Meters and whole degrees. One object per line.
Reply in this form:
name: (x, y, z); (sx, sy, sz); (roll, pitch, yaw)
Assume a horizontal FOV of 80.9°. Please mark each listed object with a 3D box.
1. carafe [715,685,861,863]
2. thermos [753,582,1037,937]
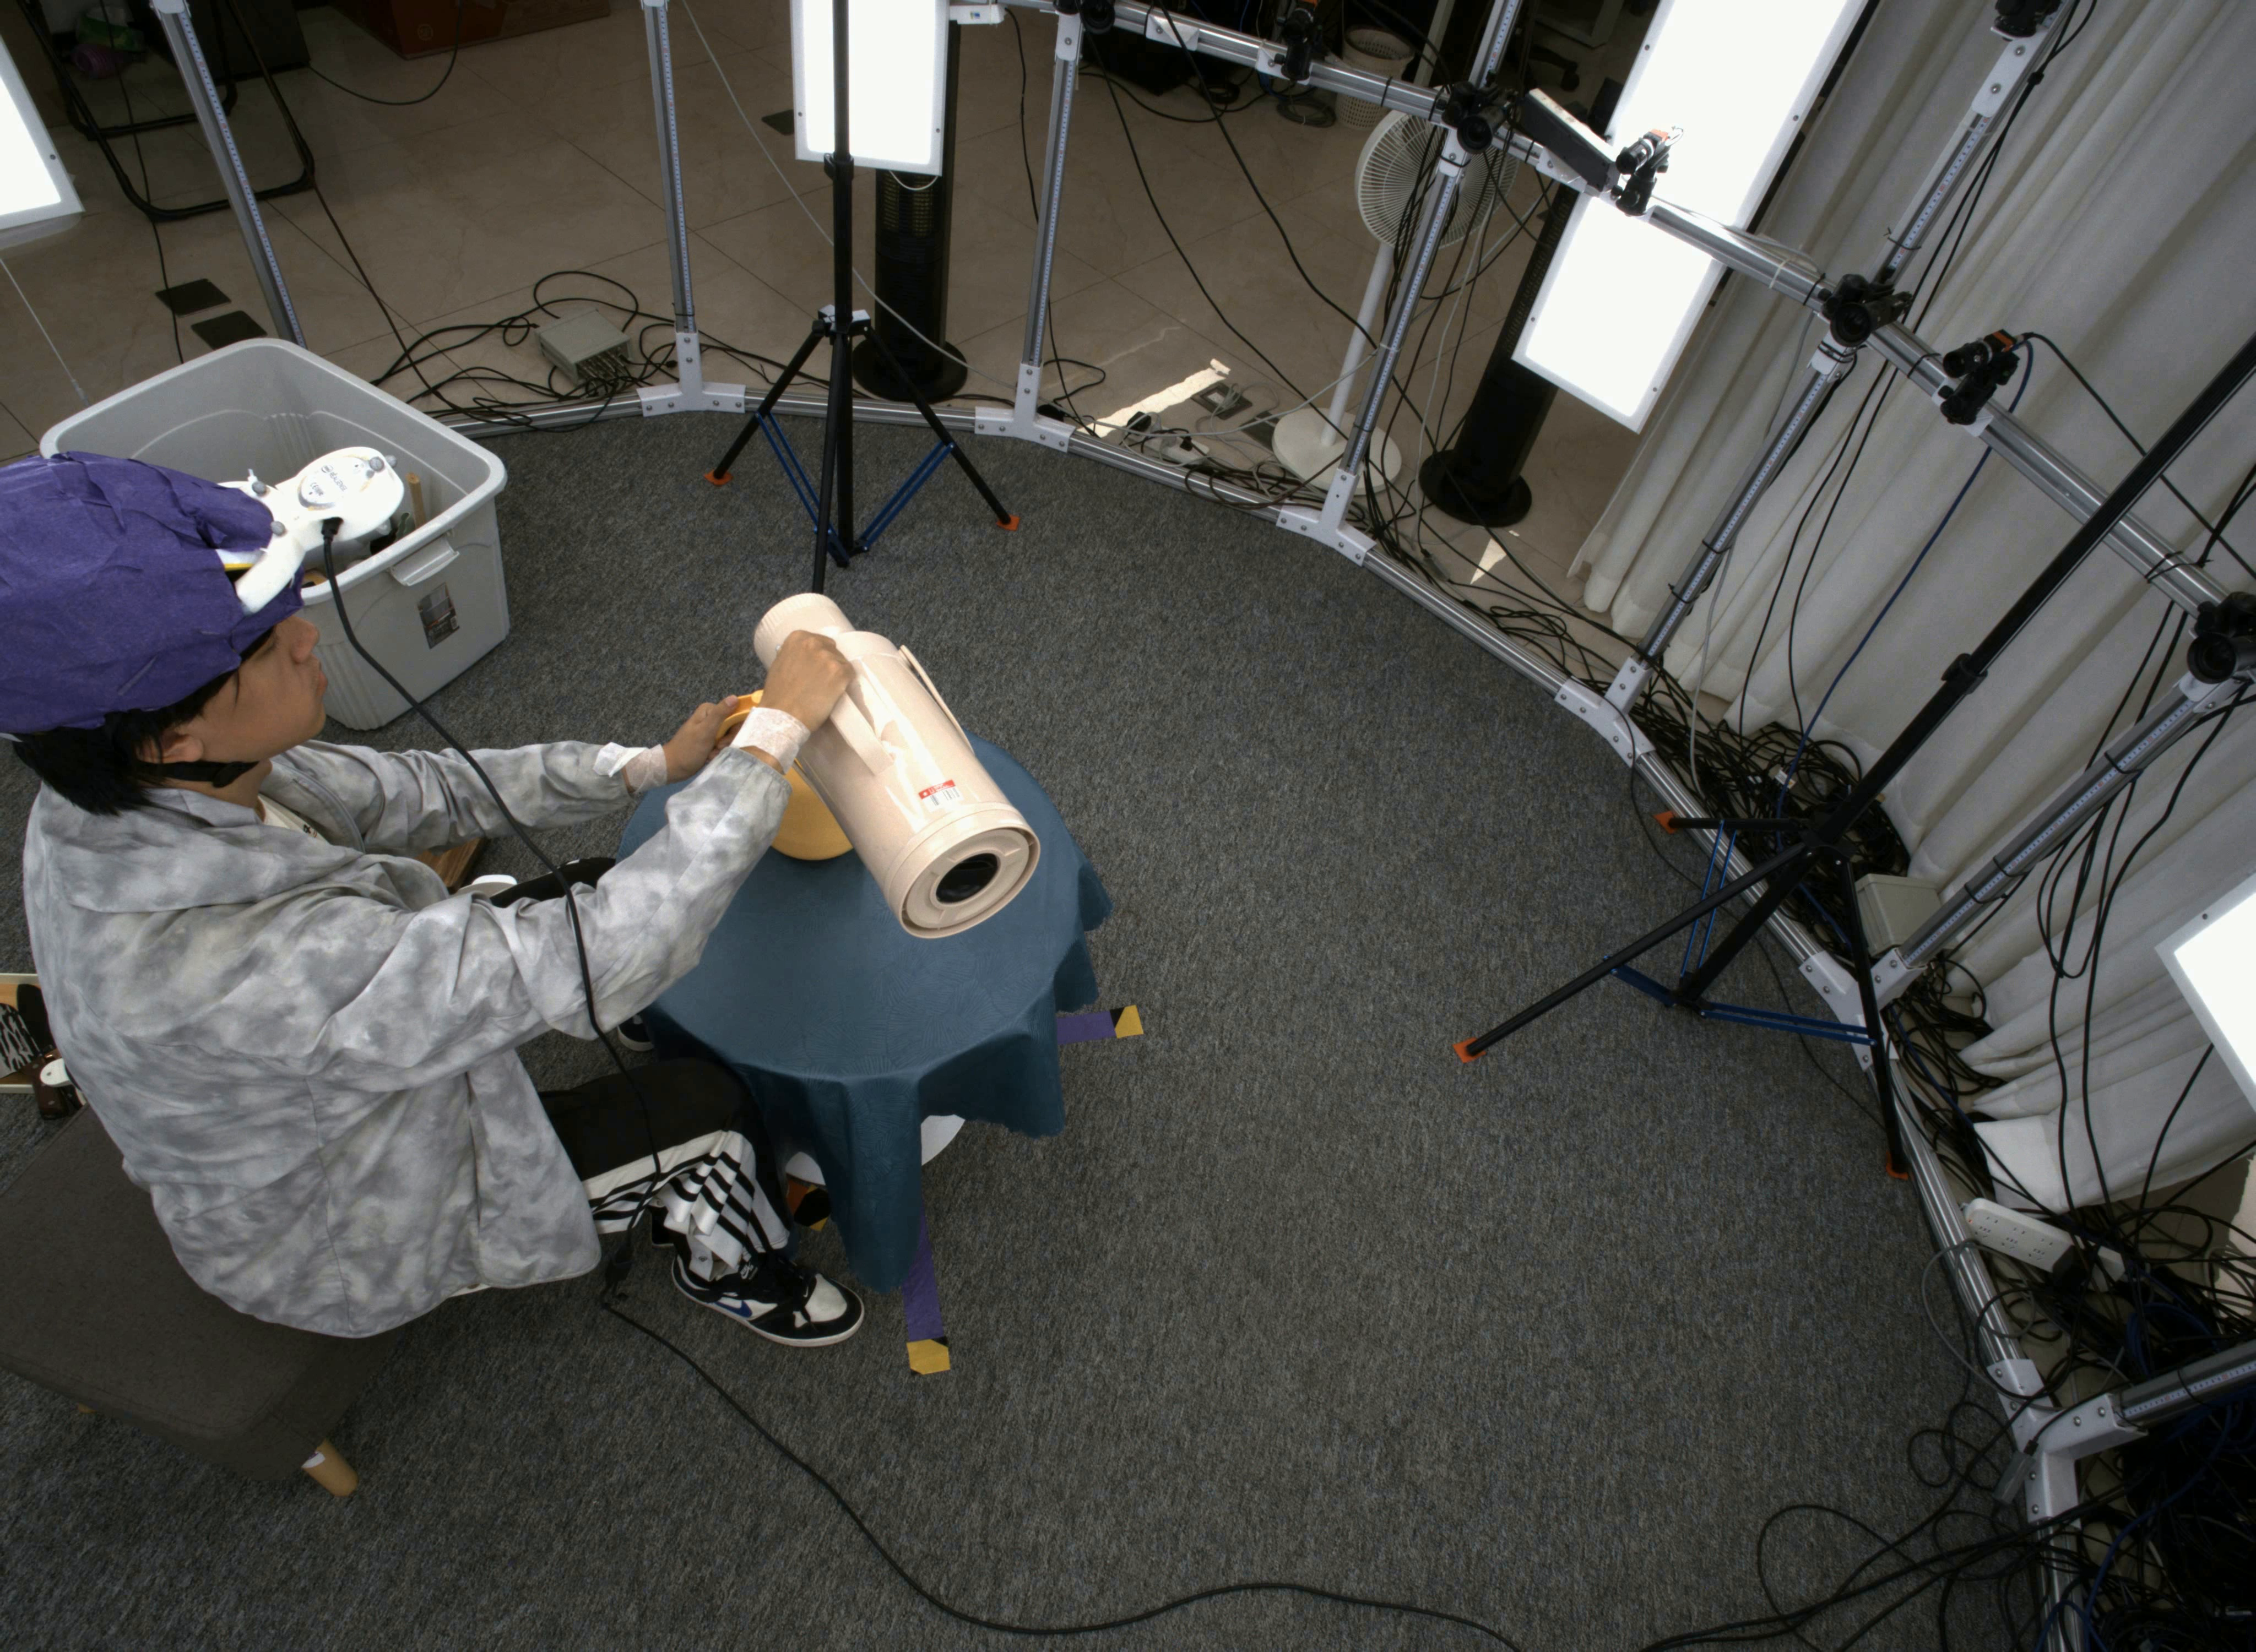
carafe: (-0.411, -0.085, 1.624); (0.203, 0.266, 0.159); (-6, 52, -17)
thermos: (-0.264, -0.091, 1.331); (0.175, 0.213, 0.396); (-36, 64, -2)
